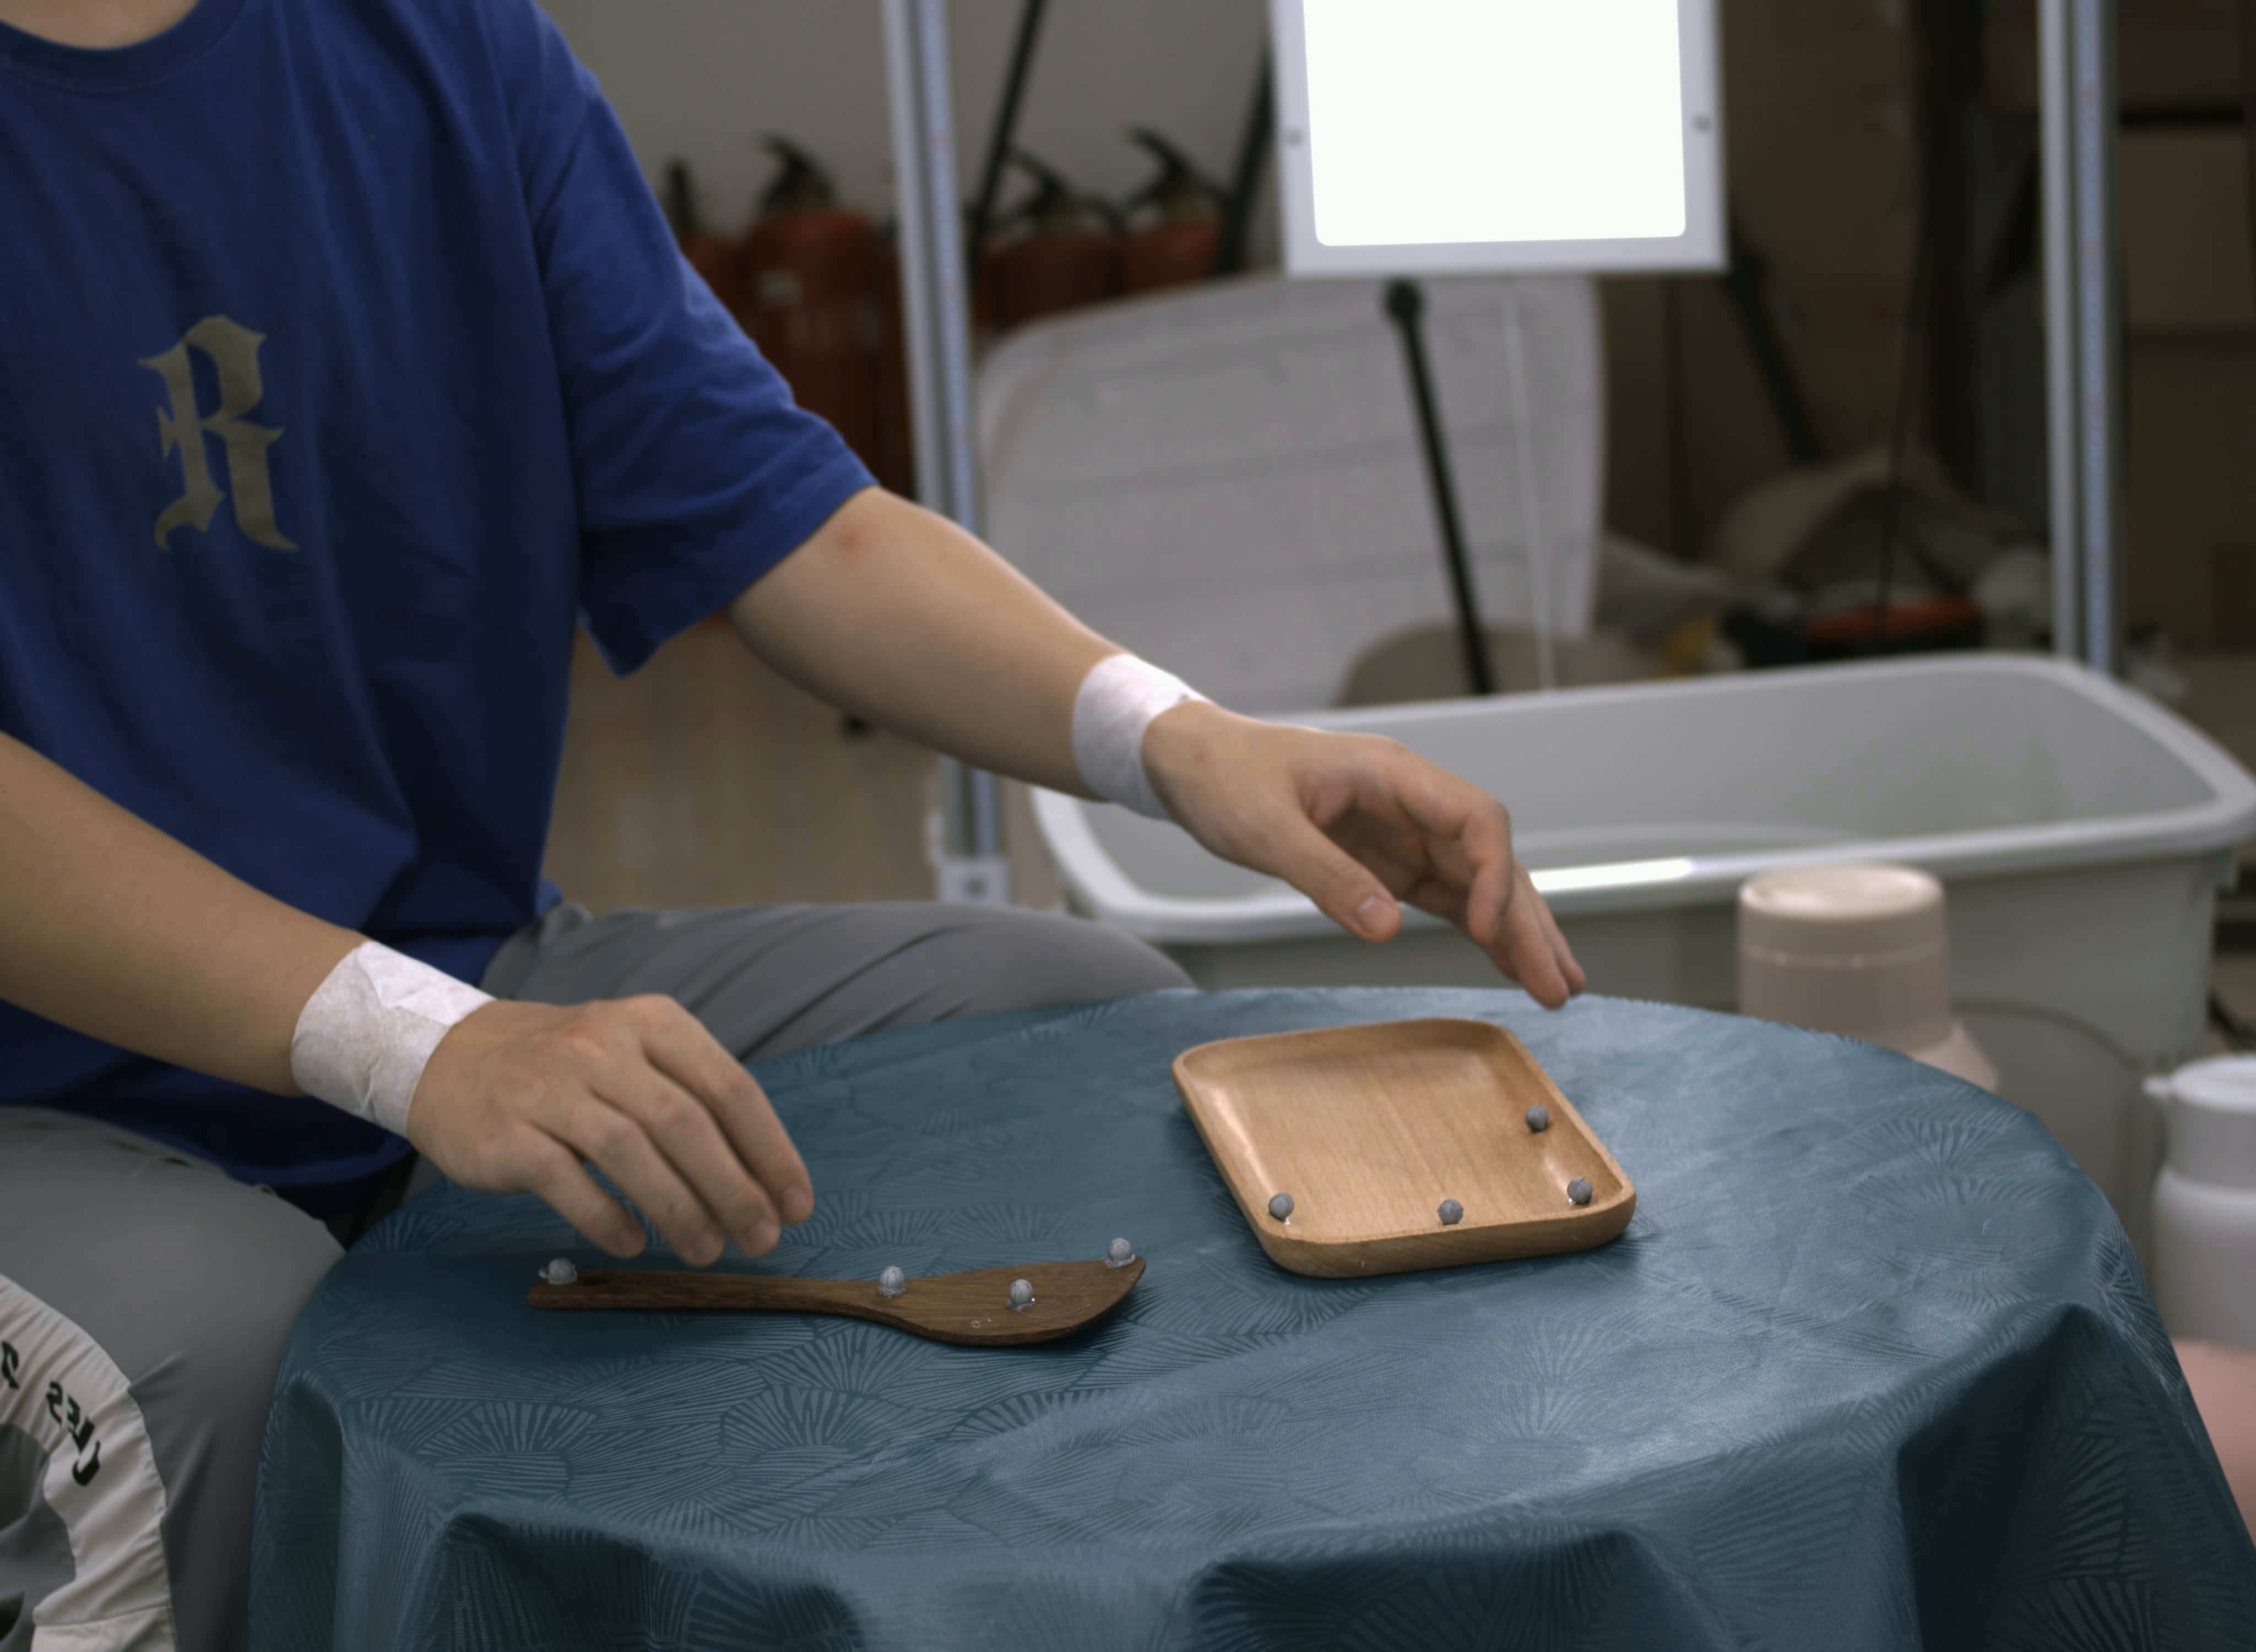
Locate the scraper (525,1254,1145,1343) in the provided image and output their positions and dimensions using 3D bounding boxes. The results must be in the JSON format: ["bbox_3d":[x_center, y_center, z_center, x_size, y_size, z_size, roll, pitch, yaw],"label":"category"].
[{"bbox_3d":[-0.099,0.153,1.805,0.214,0.011,0.074,0,14,22],"label":"scraper"}]

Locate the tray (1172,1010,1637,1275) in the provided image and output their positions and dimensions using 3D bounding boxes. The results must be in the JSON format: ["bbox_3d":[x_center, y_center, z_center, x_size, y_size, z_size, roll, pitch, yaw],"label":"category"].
[{"bbox_3d":[0.092,0.107,1.903,0.129,0.023,0.251,-4,13,-6],"label":"tray"}]
